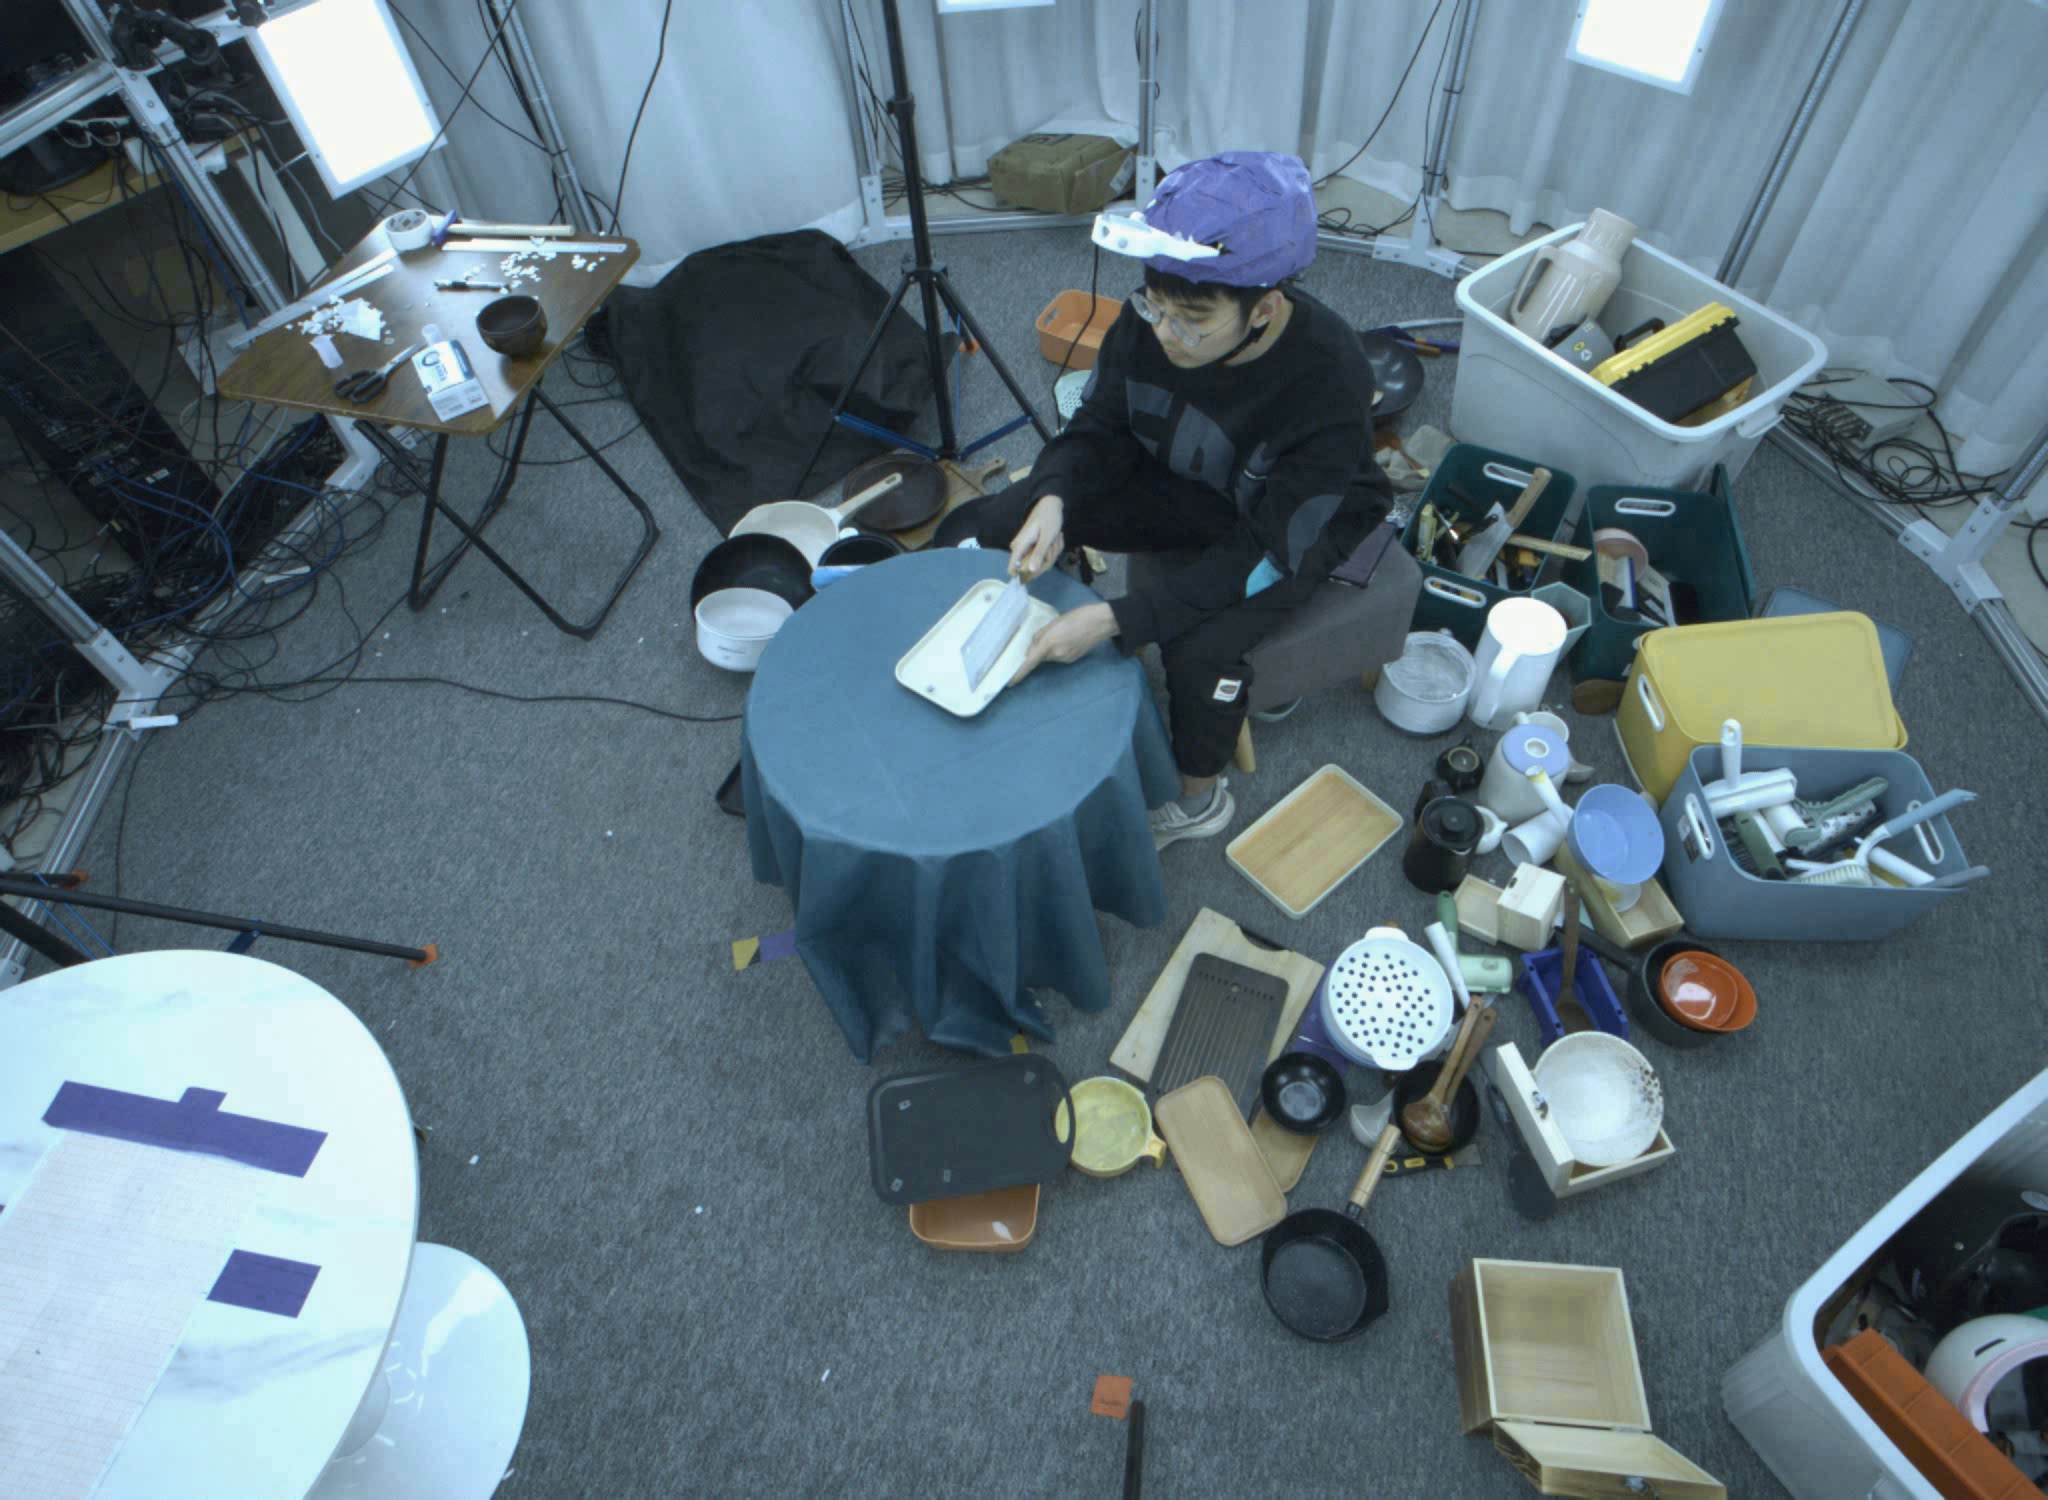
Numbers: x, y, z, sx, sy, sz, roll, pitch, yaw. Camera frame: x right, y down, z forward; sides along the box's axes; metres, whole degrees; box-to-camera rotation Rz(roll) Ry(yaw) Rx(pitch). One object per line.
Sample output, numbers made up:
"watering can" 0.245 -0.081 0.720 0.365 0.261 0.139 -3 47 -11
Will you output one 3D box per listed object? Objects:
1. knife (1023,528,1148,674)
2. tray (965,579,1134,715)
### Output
"knife" 0.100 -0.221 1.829 0.020 0.094 0.307 15 48 39
"tray" 0.040 -0.158 1.870 0.168 0.018 0.241 34 67 29
